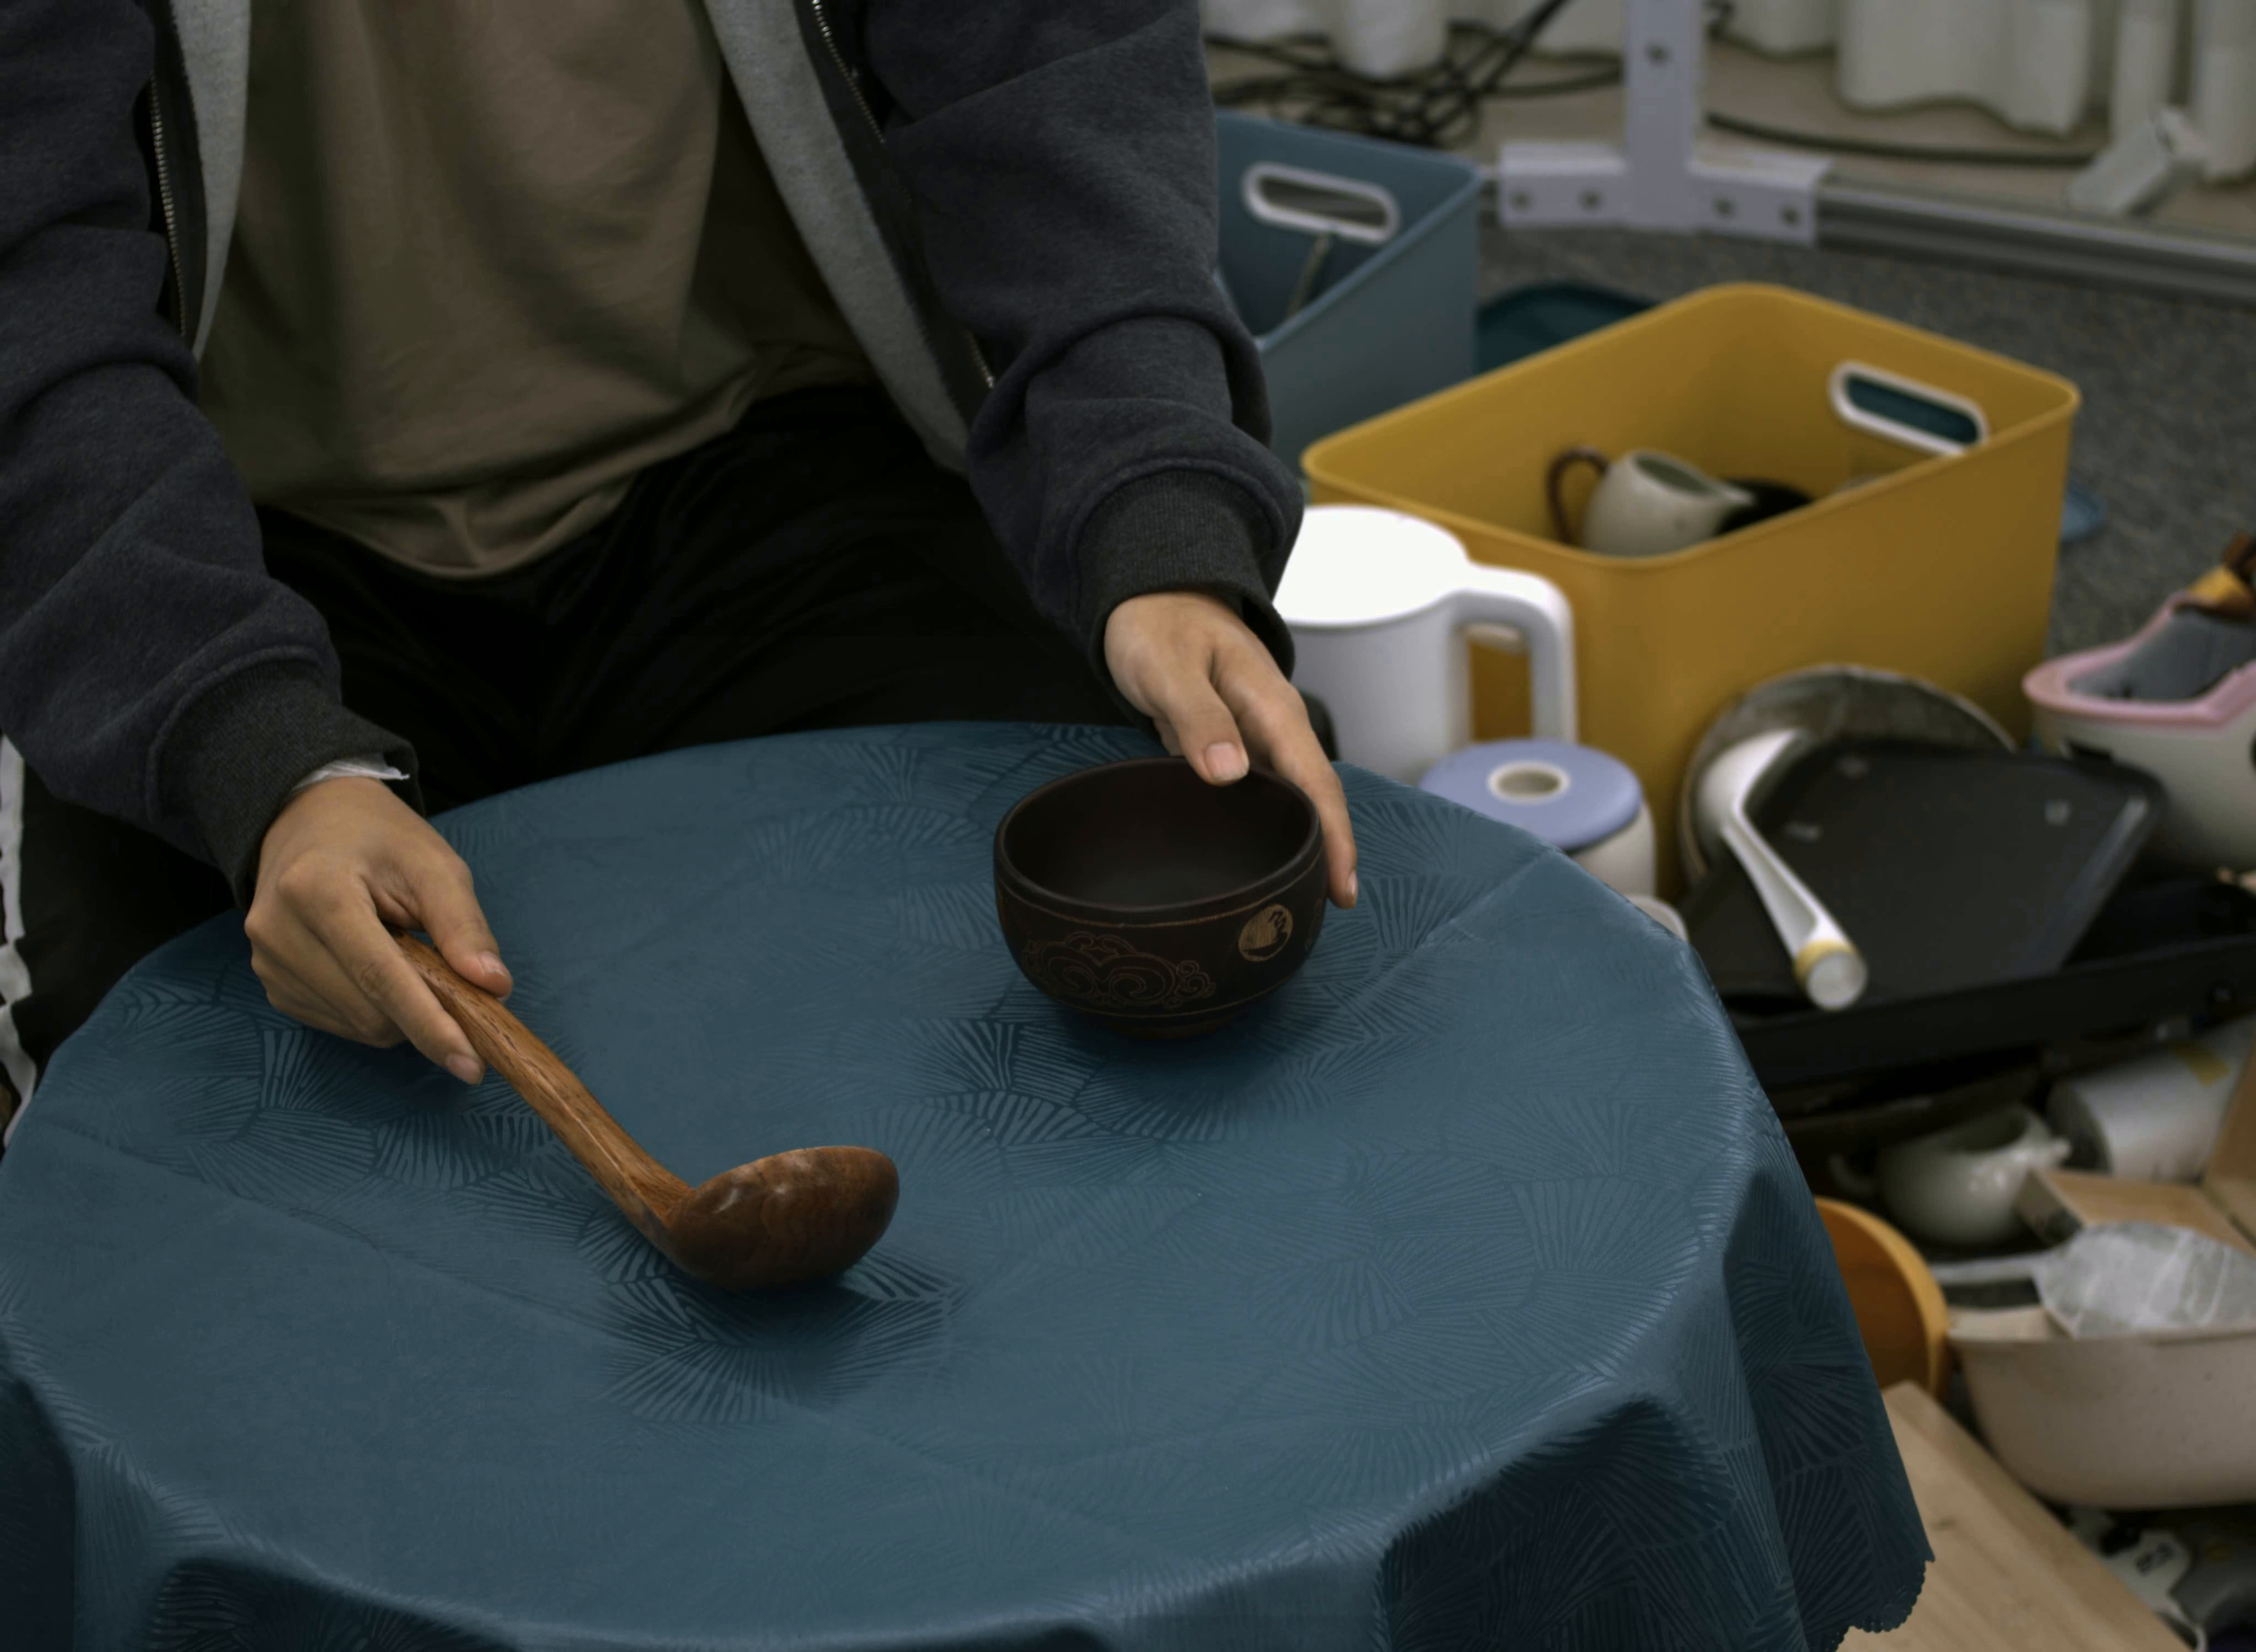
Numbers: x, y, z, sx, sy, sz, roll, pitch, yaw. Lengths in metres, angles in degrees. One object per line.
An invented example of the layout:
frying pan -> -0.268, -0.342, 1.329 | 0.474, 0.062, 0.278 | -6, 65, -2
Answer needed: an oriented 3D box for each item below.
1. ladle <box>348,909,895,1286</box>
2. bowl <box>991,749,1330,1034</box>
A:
ladle -> -0.177, 0.071, 1.868 | 0.082, 0.076, 0.275 | 9, 23, -44
bowl -> 0.013, 0.029, 1.957 | 0.117, 0.069, 0.120 | -4, 26, 2
